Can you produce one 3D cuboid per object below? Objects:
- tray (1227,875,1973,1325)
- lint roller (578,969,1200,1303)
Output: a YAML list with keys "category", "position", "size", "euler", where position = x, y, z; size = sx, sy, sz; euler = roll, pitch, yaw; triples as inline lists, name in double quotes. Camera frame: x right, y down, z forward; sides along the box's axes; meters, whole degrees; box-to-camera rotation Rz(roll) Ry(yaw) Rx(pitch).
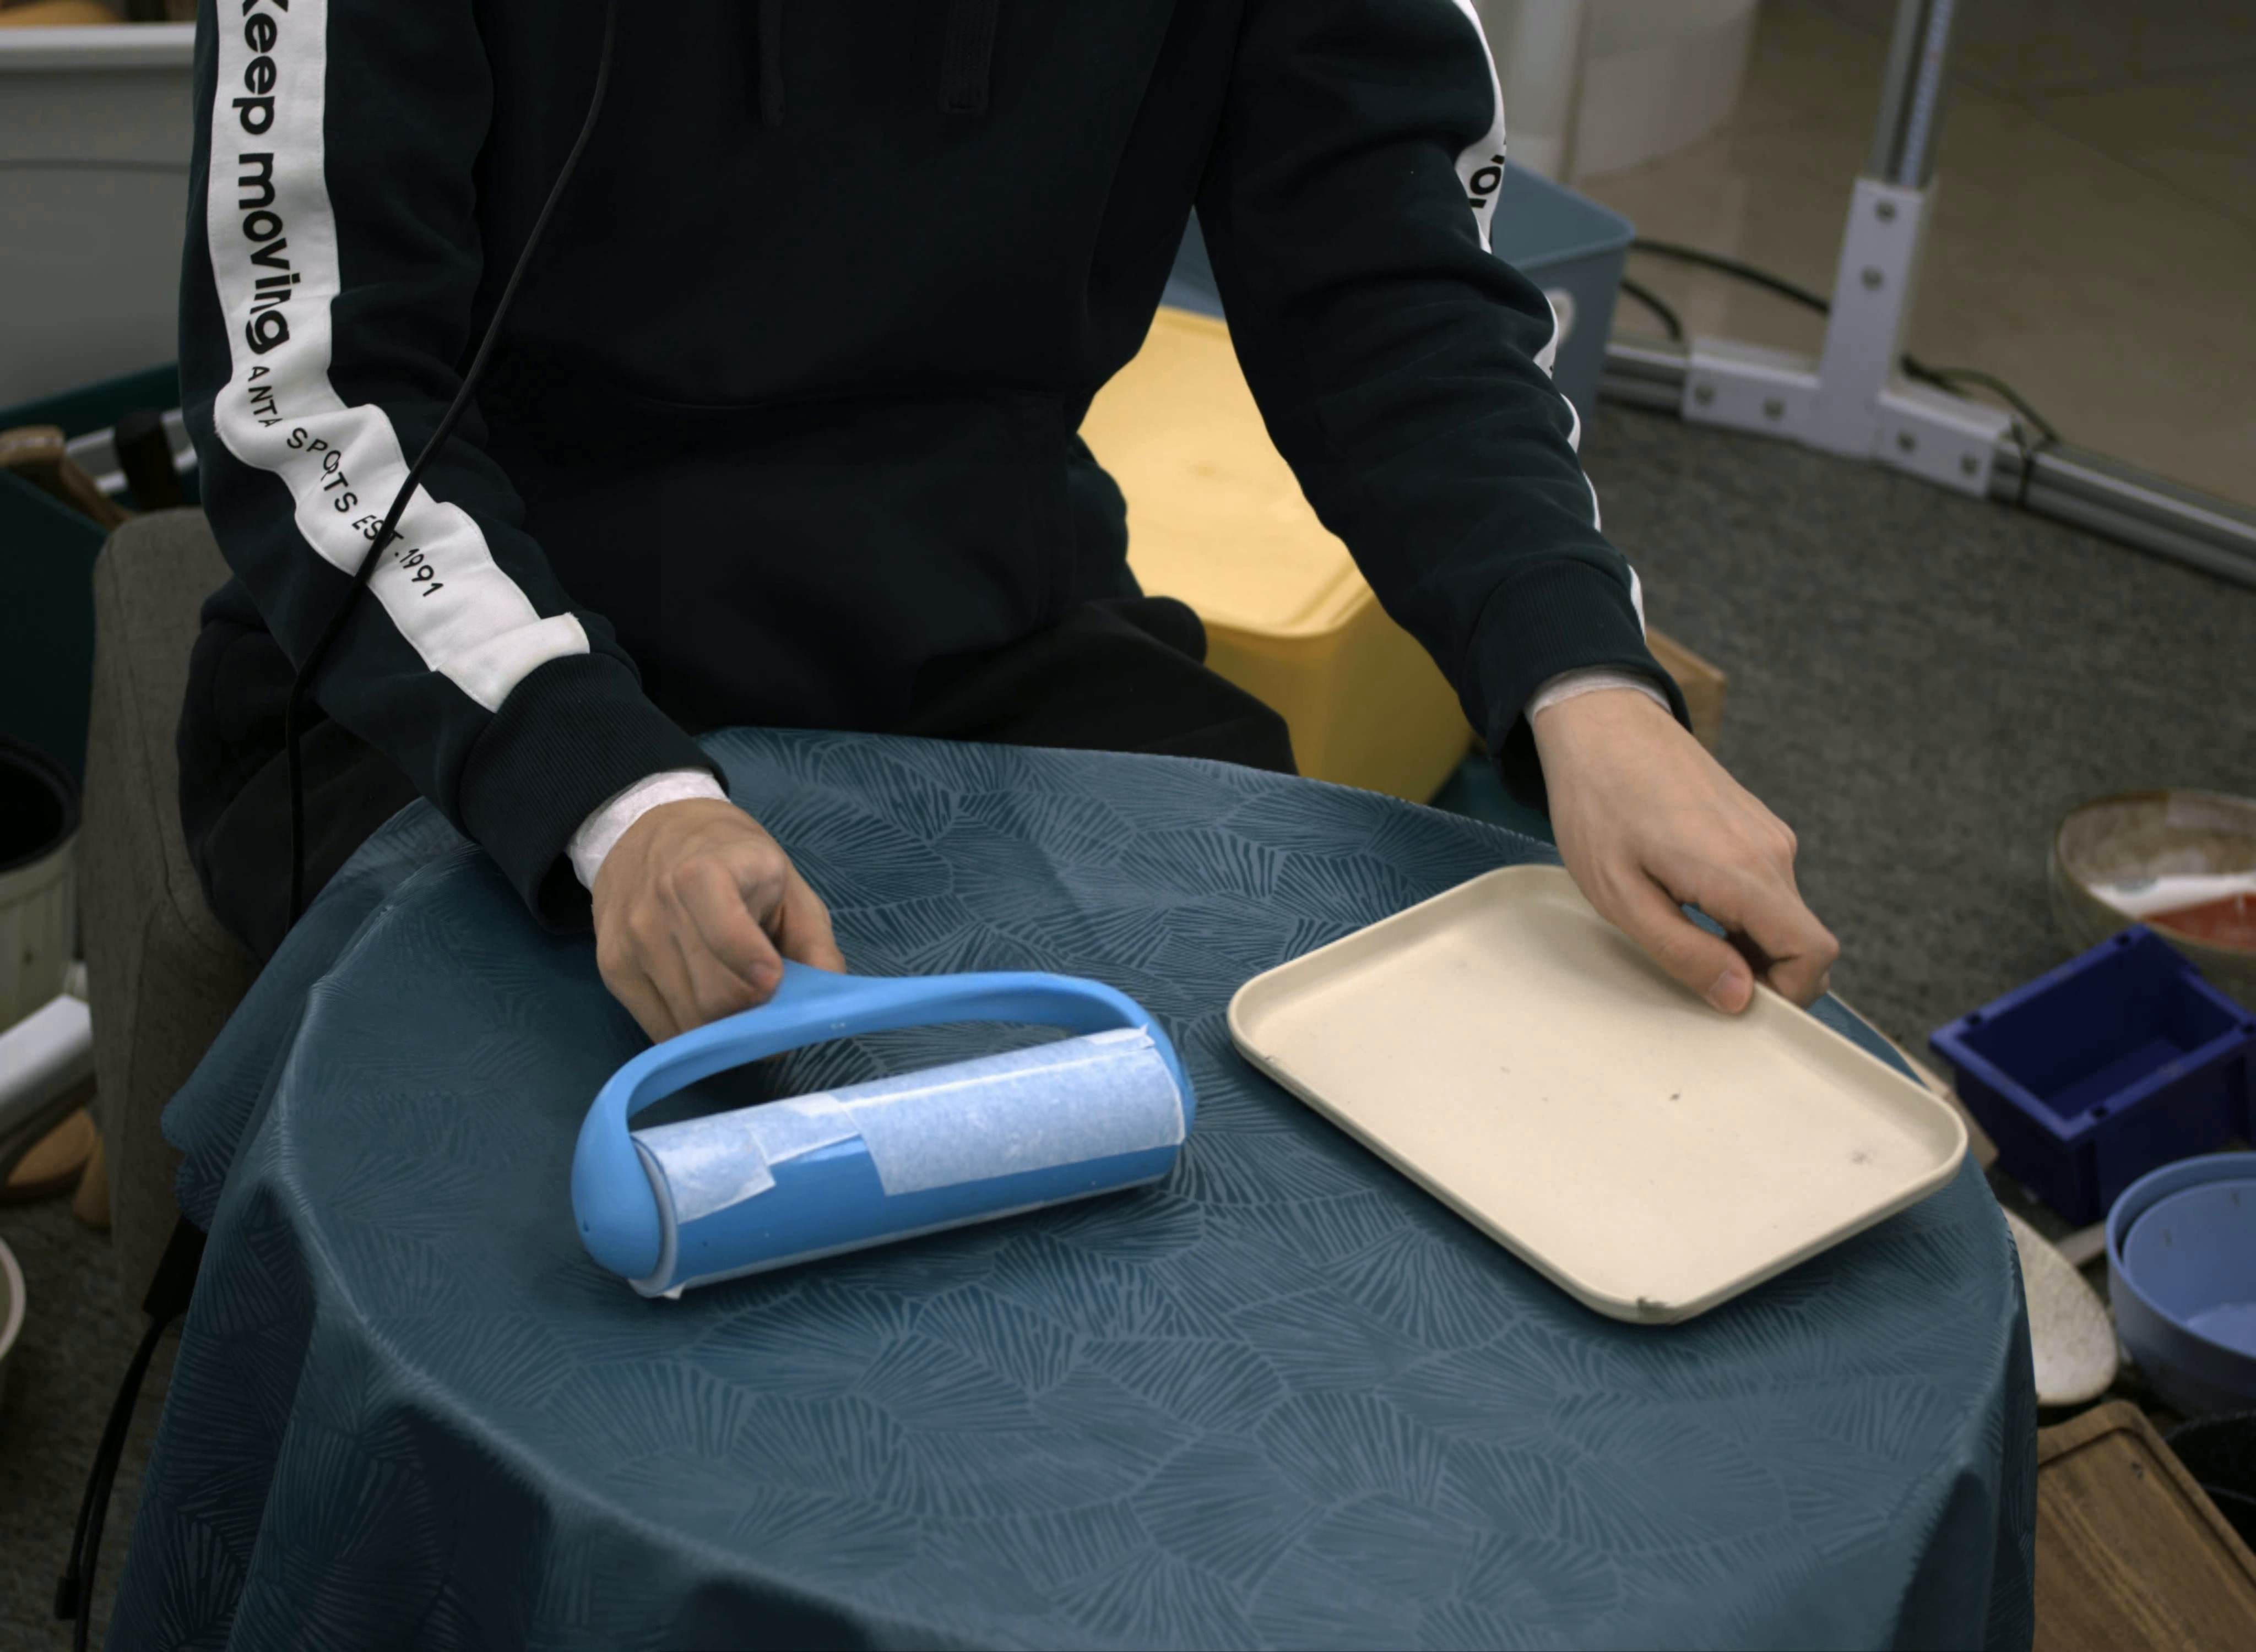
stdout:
- category: "tray"
  position: [0.162, 0.094, 1.854]
  size: [0.170, 0.017, 0.242]
  euler: [-21, 37, -31]
- category: "lint roller"
  position: [-0.108, 0.083, 1.791]
  size: [0.227, 0.067, 0.182]
  euler: [-14, 34, -32]
